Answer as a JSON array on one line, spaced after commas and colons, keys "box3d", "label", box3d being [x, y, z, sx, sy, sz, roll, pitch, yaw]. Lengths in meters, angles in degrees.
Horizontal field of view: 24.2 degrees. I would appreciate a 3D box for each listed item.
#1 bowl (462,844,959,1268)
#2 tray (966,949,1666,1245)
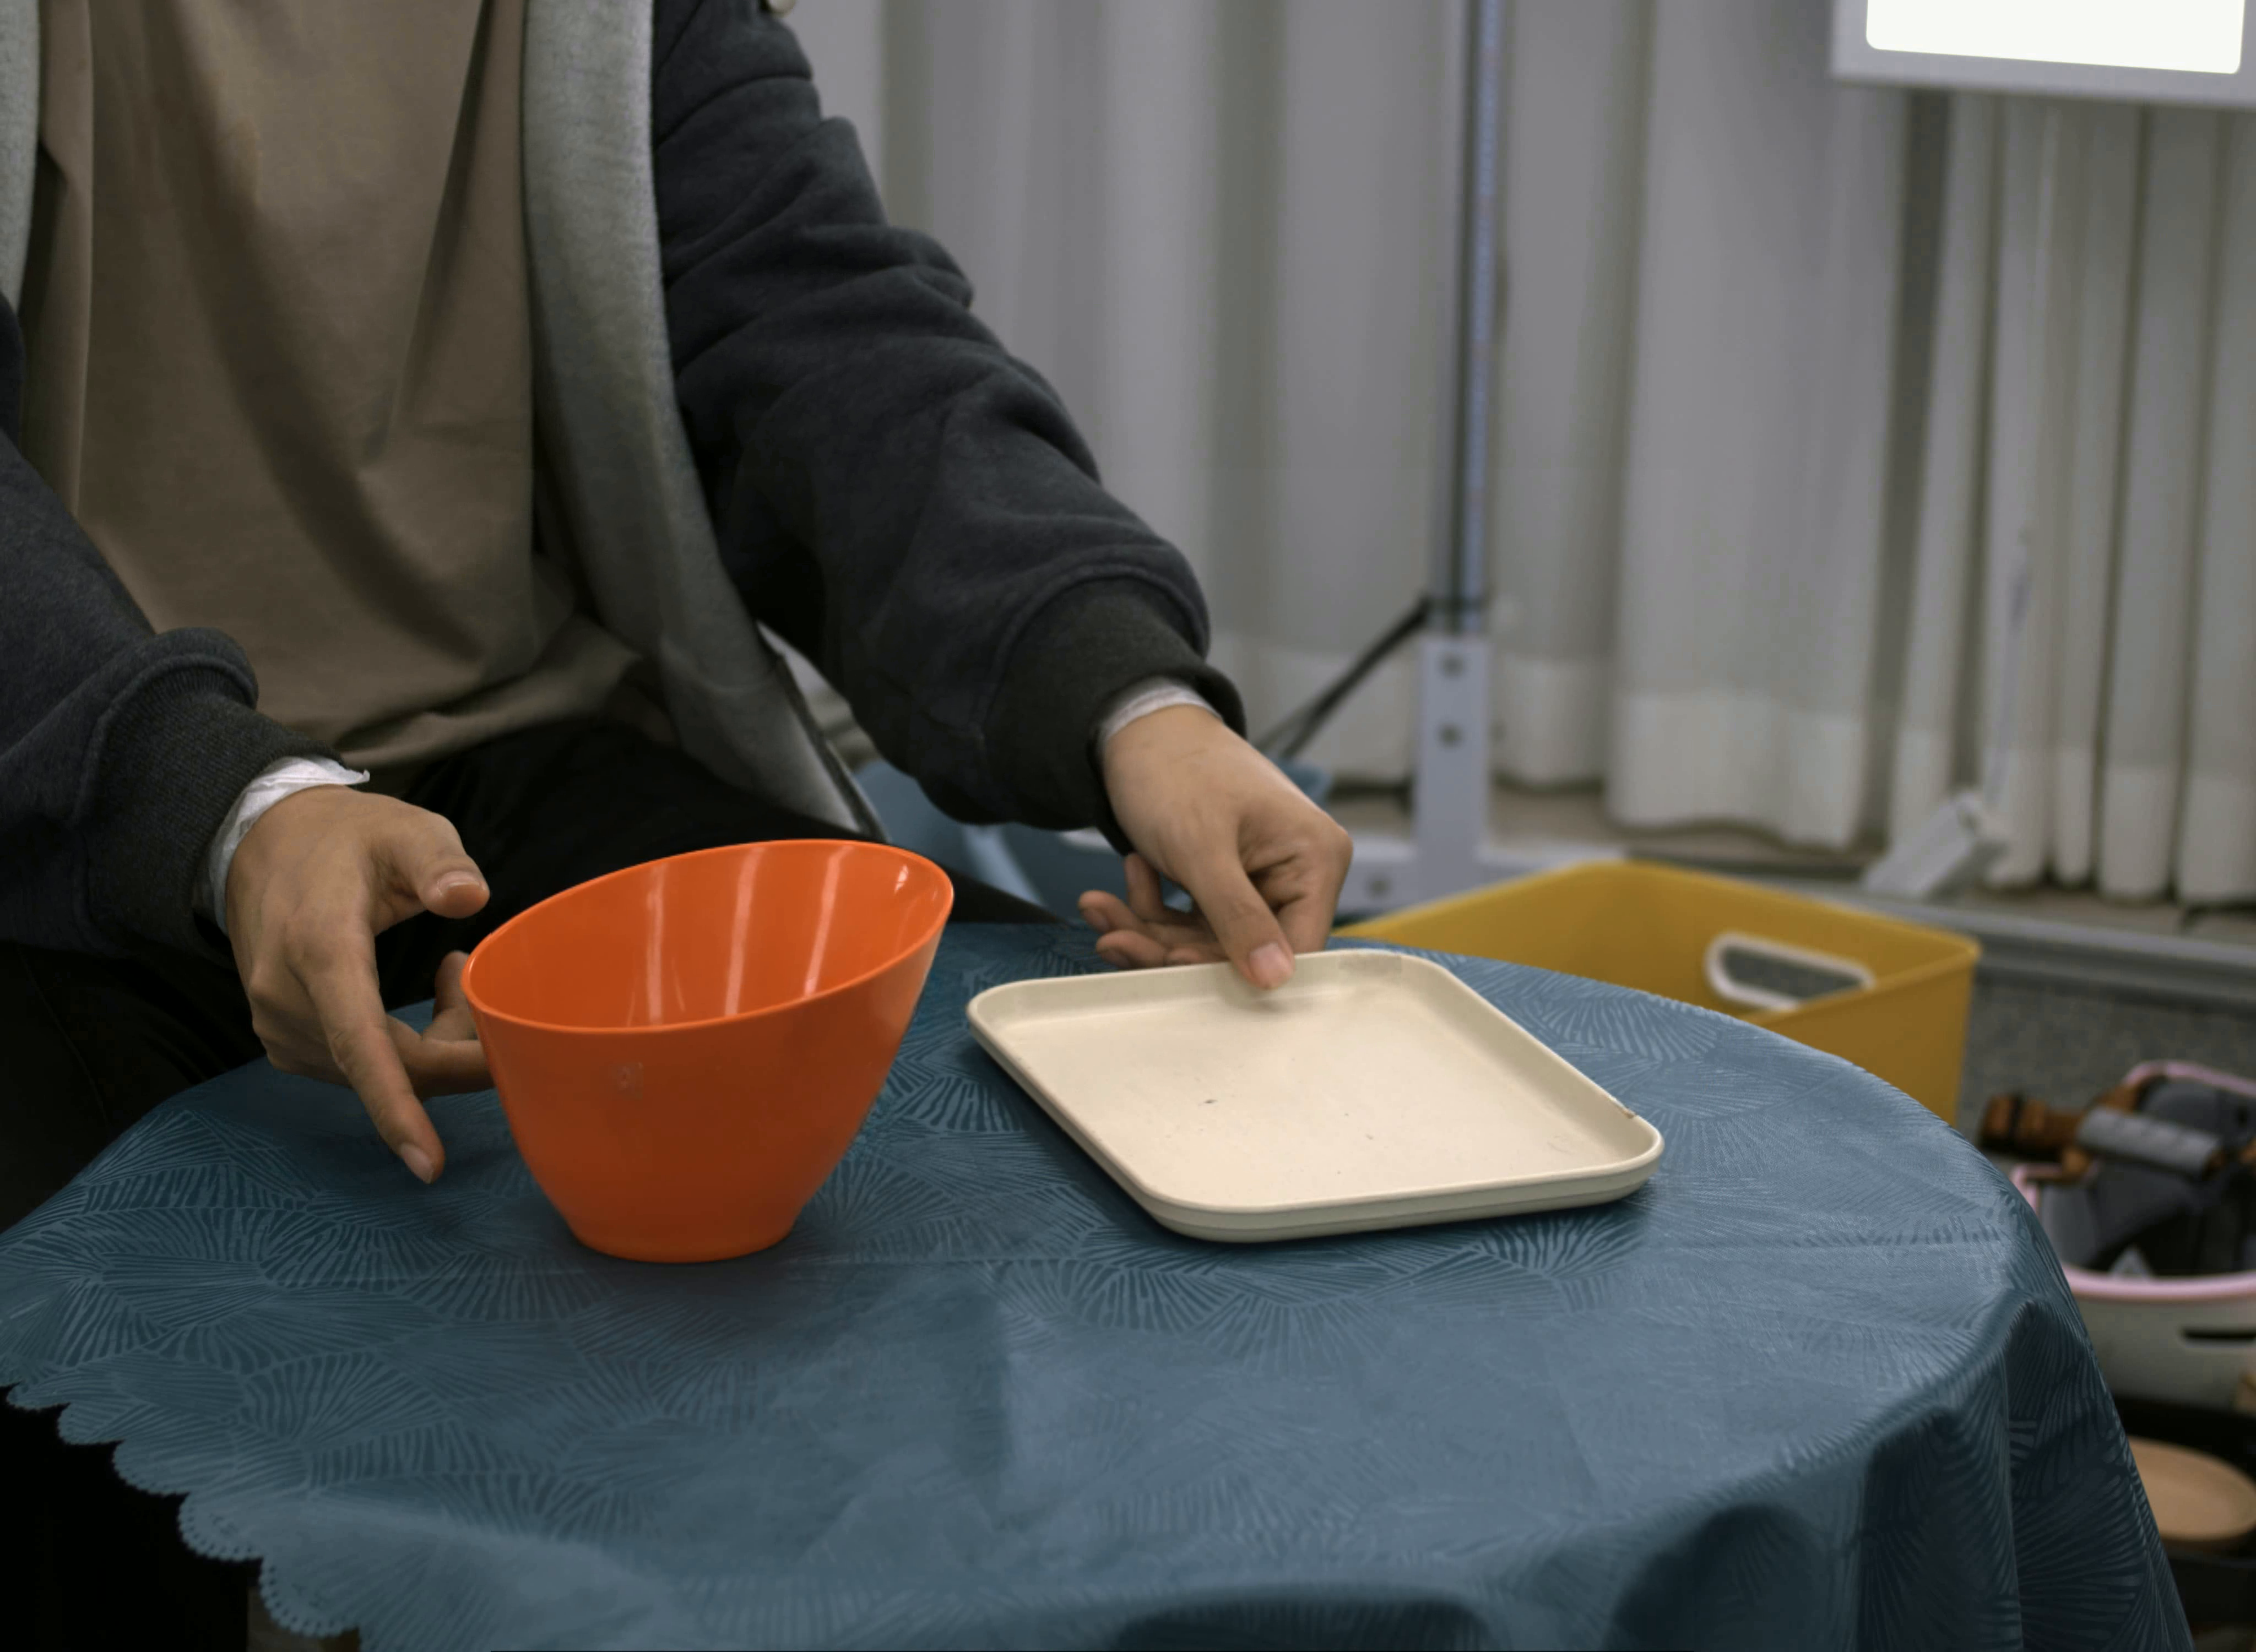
[{"box3d": [-0.125, 0.071, 1.577, 0.147, 0.105, 0.147, 2, 17, 0], "label": "bowl"}, {"box3d": [0.056, 0.085, 1.689, 0.171, 0.017, 0.237, -5, 17, -18], "label": "tray"}]
